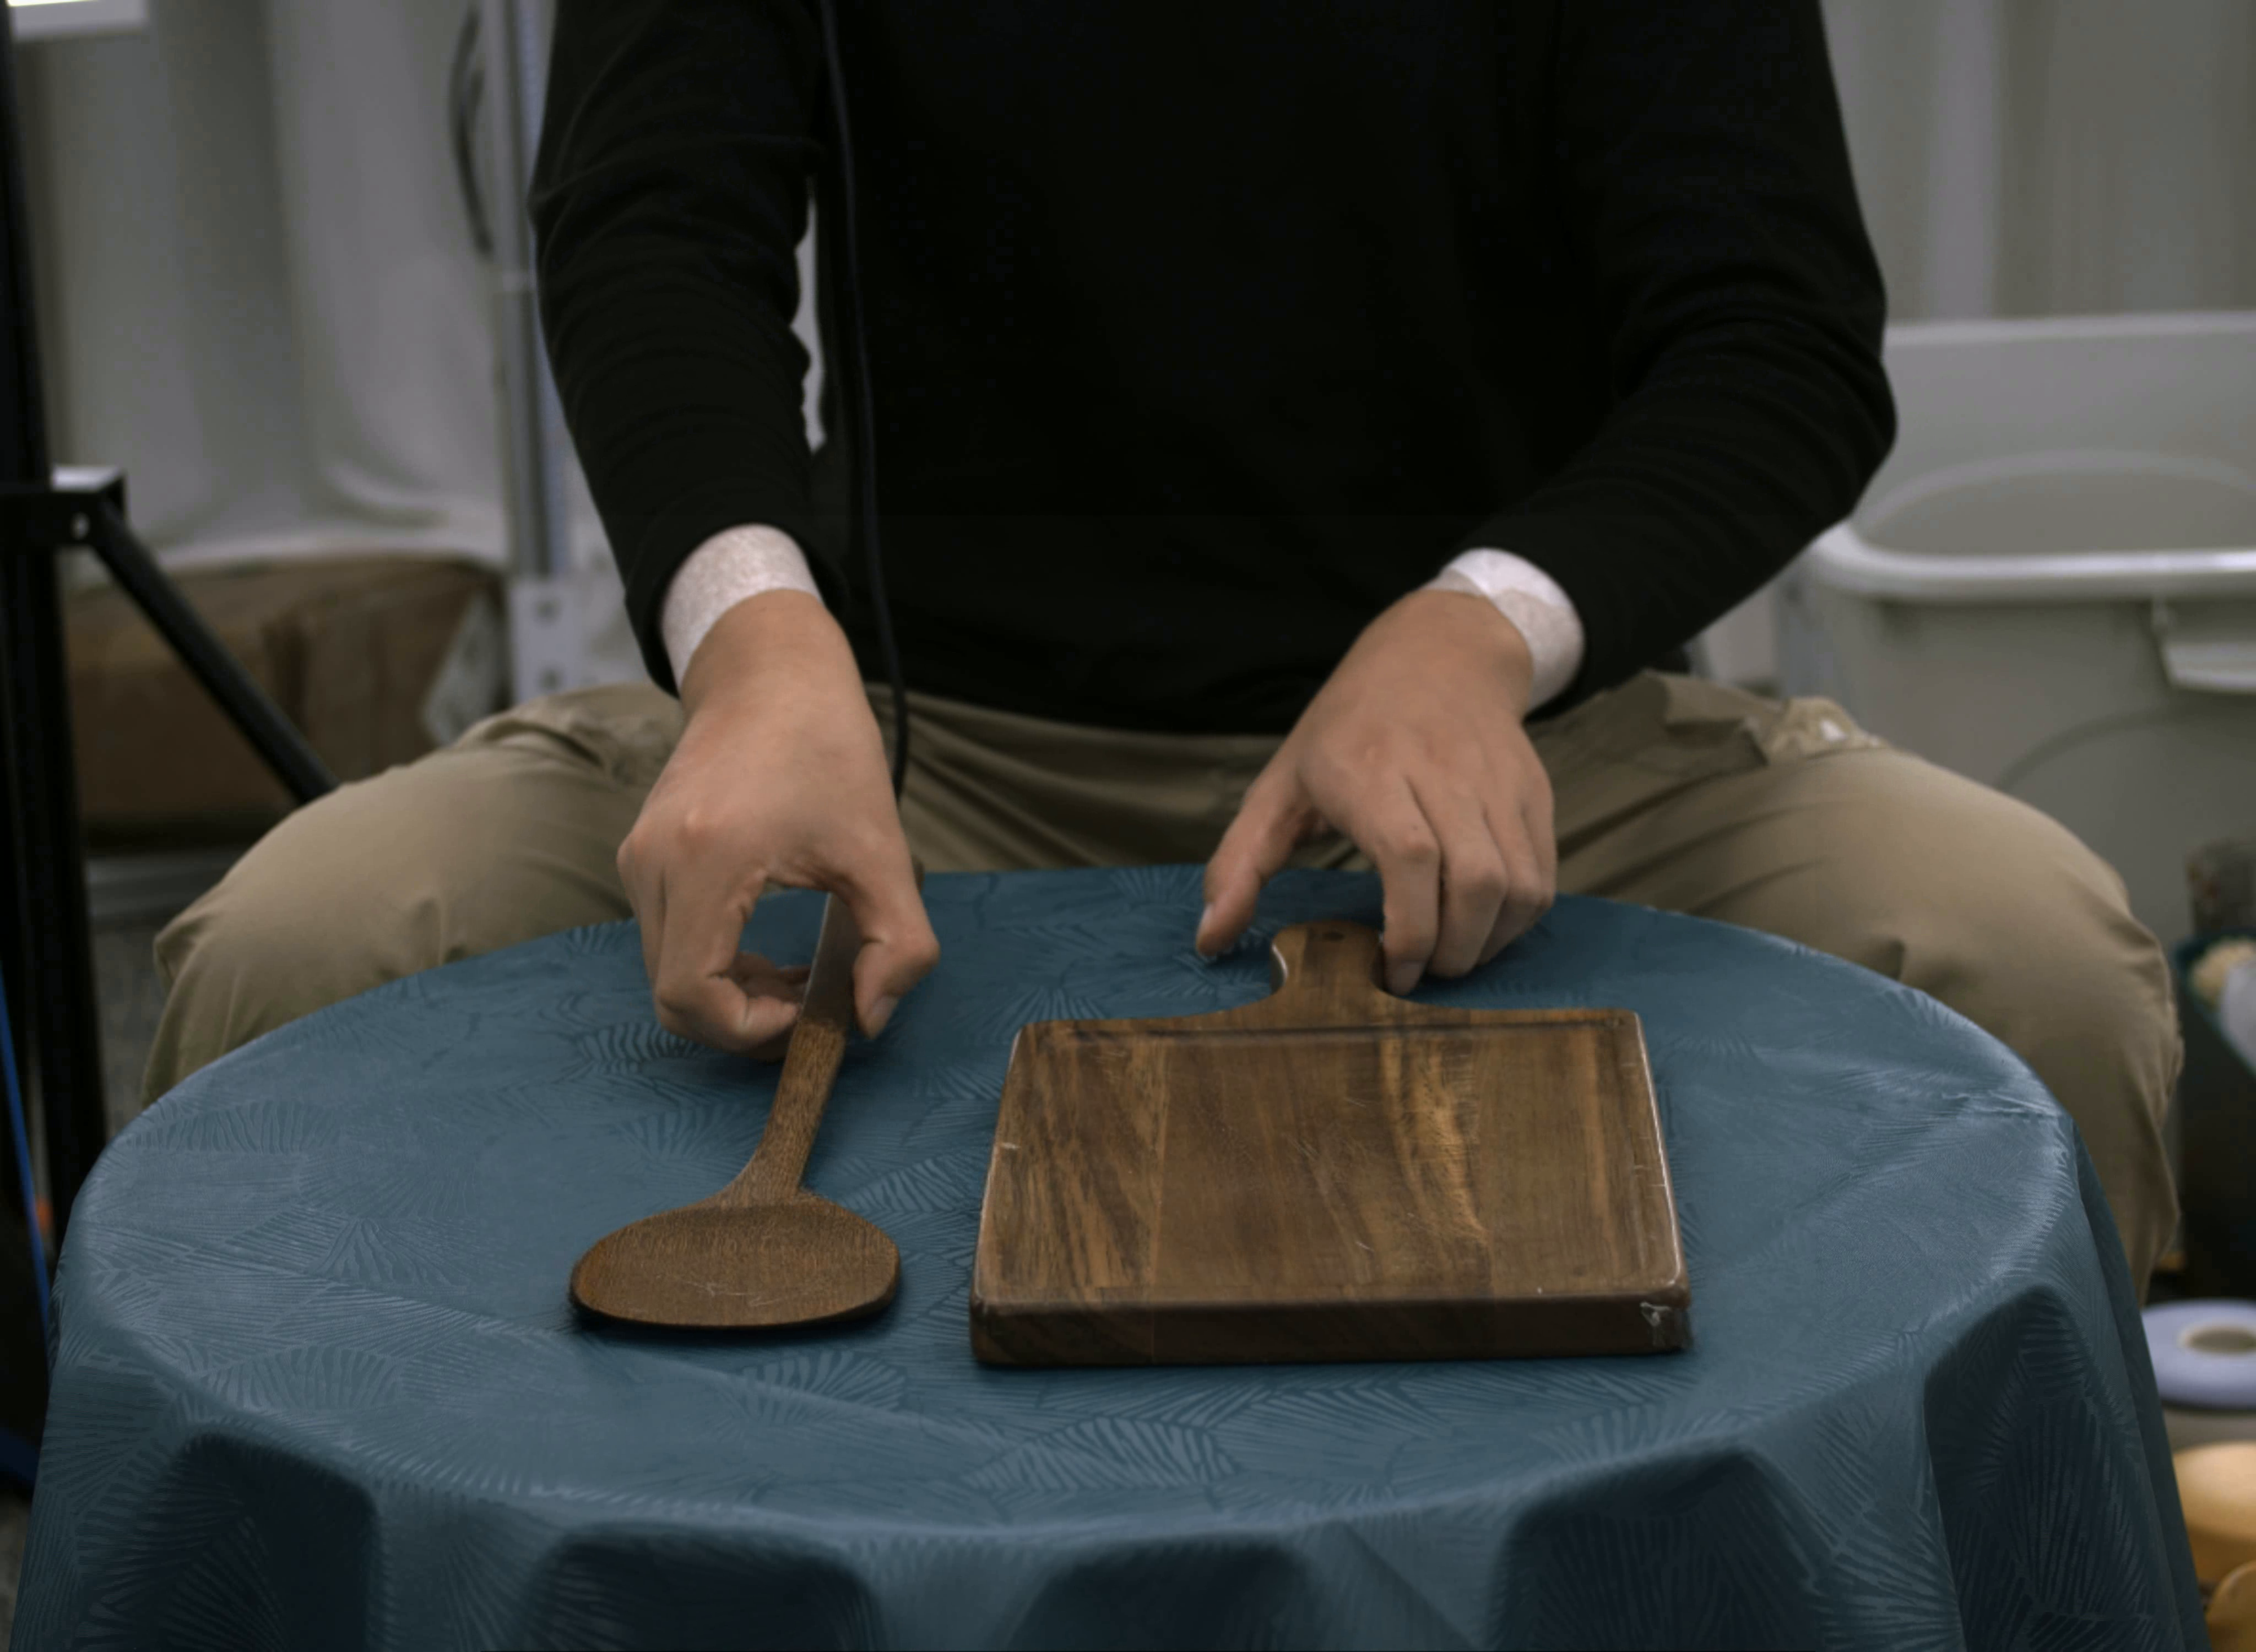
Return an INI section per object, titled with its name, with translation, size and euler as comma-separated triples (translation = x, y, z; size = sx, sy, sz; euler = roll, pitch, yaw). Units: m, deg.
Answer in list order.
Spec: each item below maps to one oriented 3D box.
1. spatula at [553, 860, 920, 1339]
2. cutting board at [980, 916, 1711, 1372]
[spatula]
translation = -0.099, 0.076, 1.633
size = 0.096, 0.016, 0.386
euler = 0, 20, 5
[cutting board]
translation = 0.061, 0.088, 1.581
size = 0.200, 0.023, 0.353
euler = -2, 16, 2
